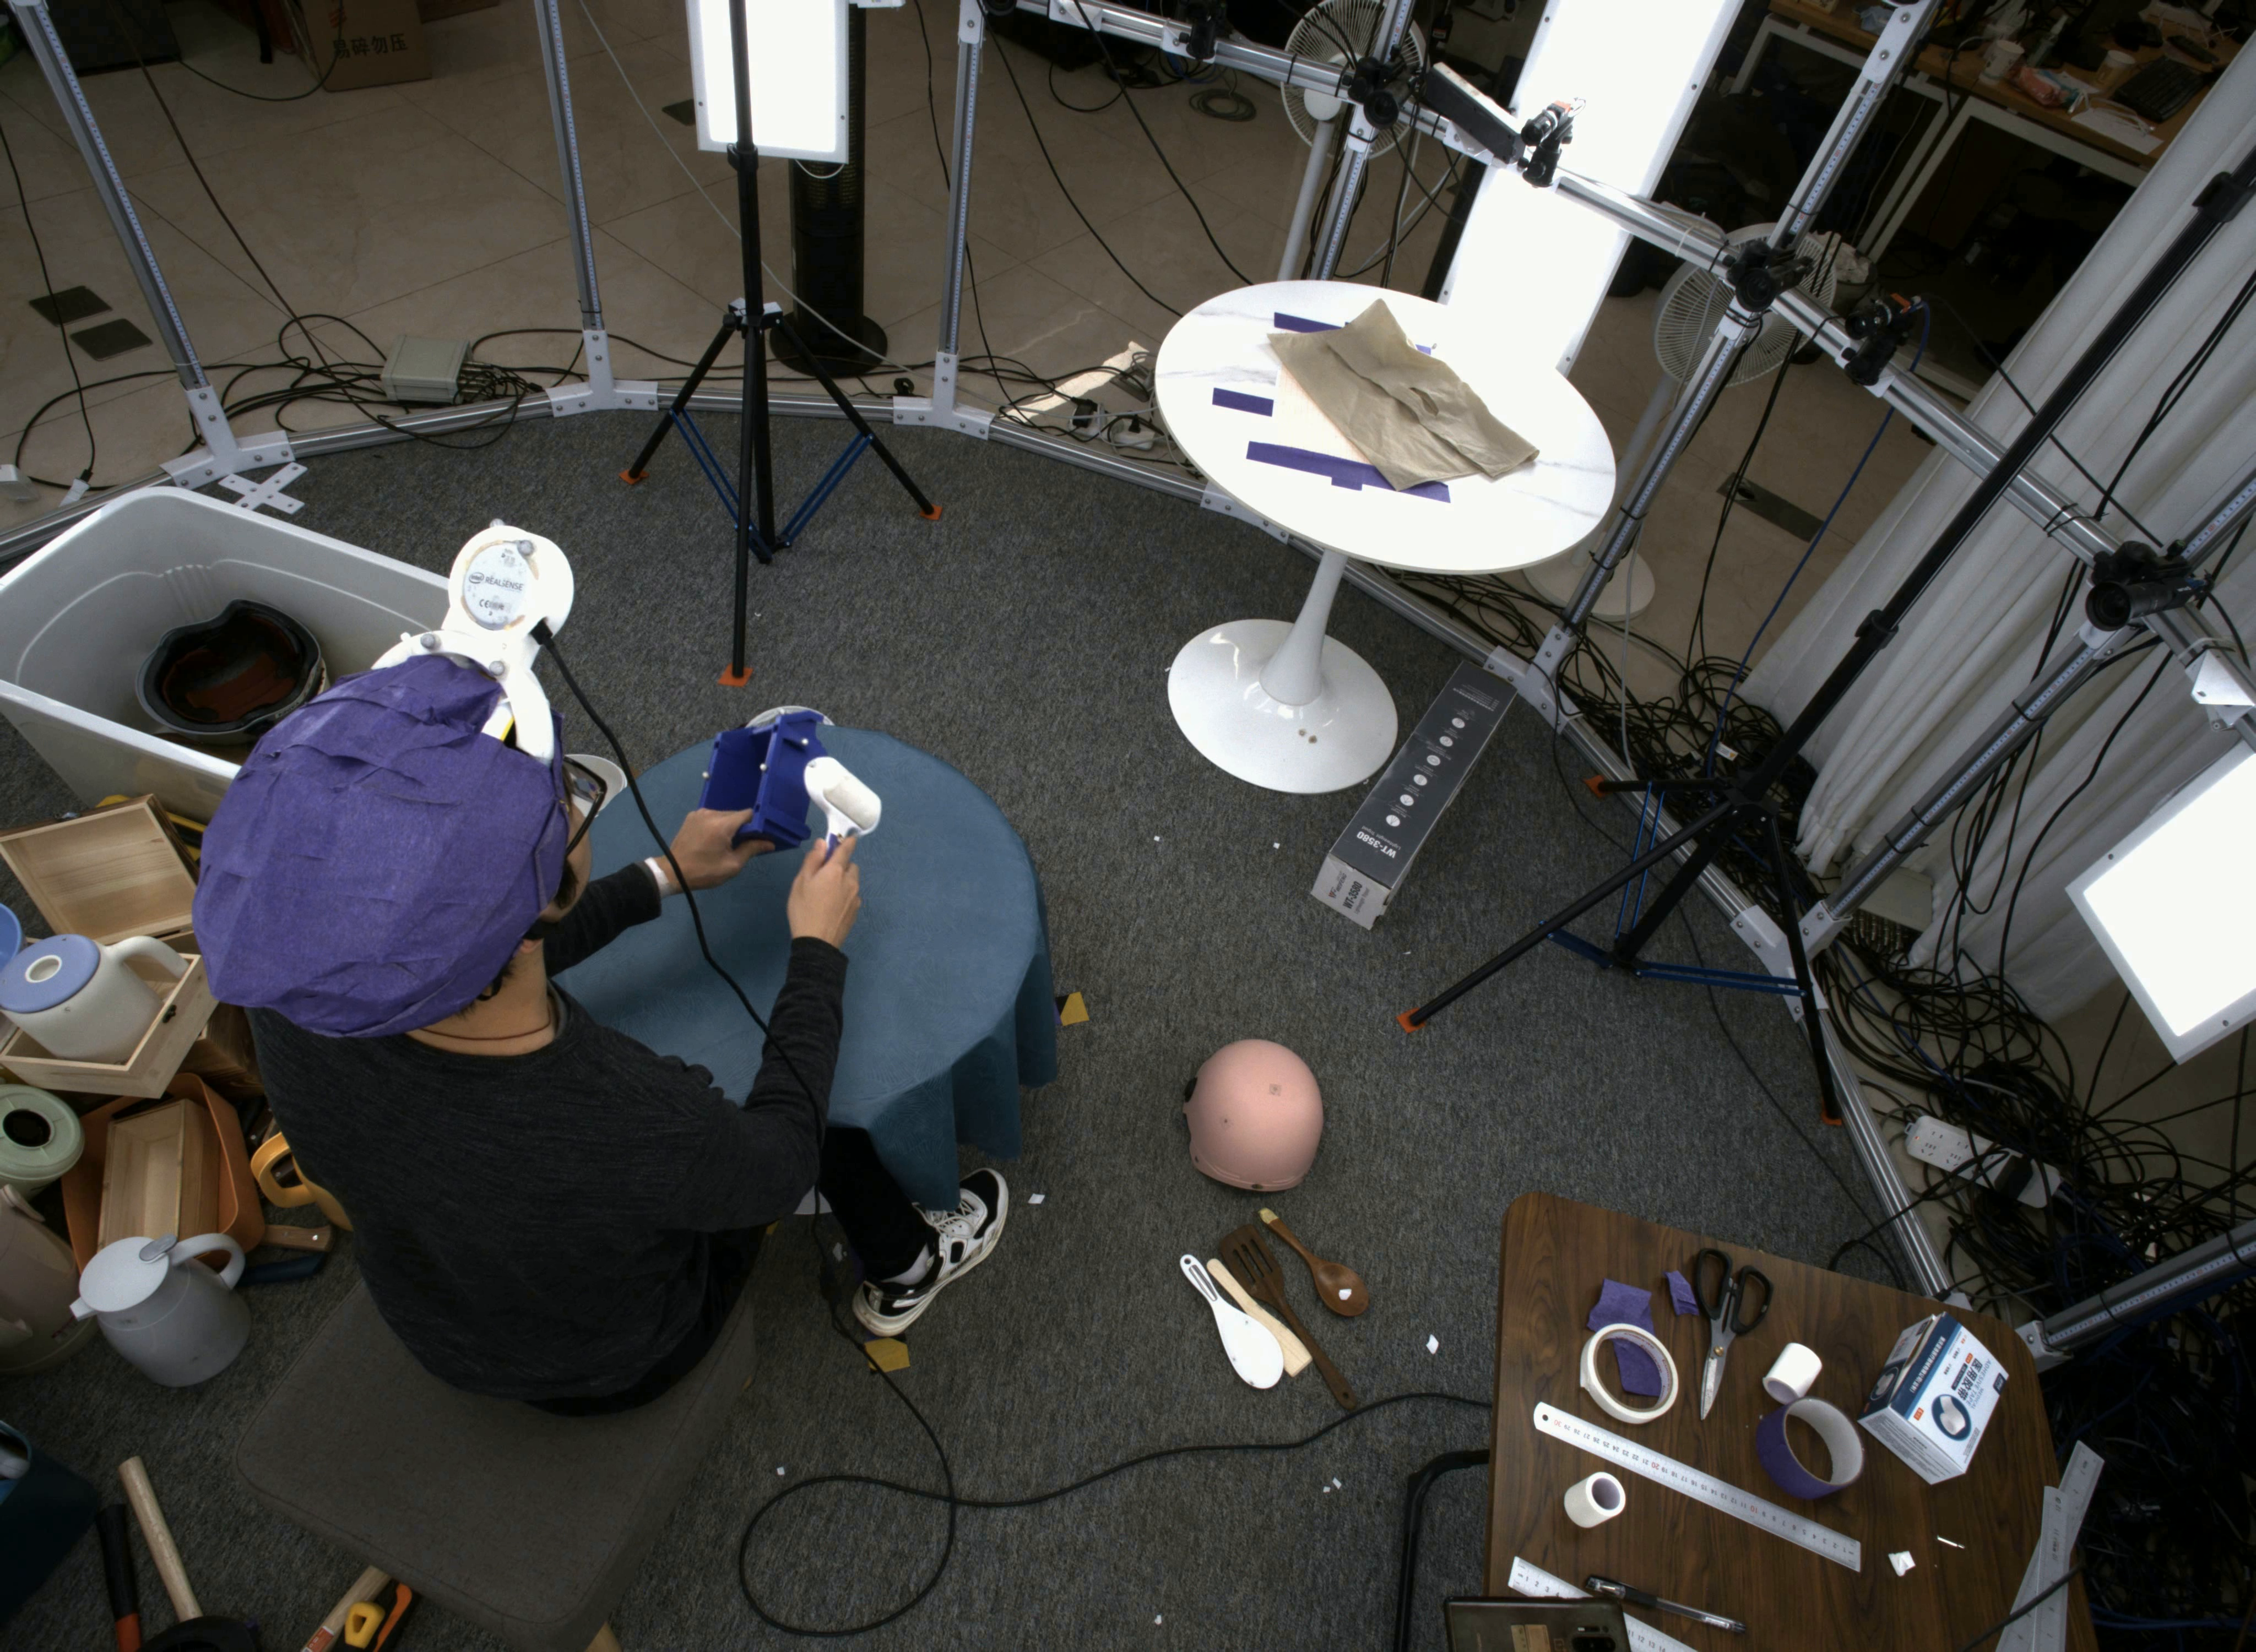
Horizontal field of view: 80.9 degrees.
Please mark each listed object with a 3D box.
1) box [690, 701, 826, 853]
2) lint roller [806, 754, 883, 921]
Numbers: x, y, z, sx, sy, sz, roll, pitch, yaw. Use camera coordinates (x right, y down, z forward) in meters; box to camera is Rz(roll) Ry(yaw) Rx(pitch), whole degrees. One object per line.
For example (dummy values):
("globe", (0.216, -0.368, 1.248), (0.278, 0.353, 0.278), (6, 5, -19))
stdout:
("box", (-0.443, -0.062, 1.556), (0.121, 0.084, 0.178), (-9, 65, 32))
("lint roller", (-0.327, 0.018, 1.481), (0.049, 0.137, 0.178), (-10, 63, 14))
